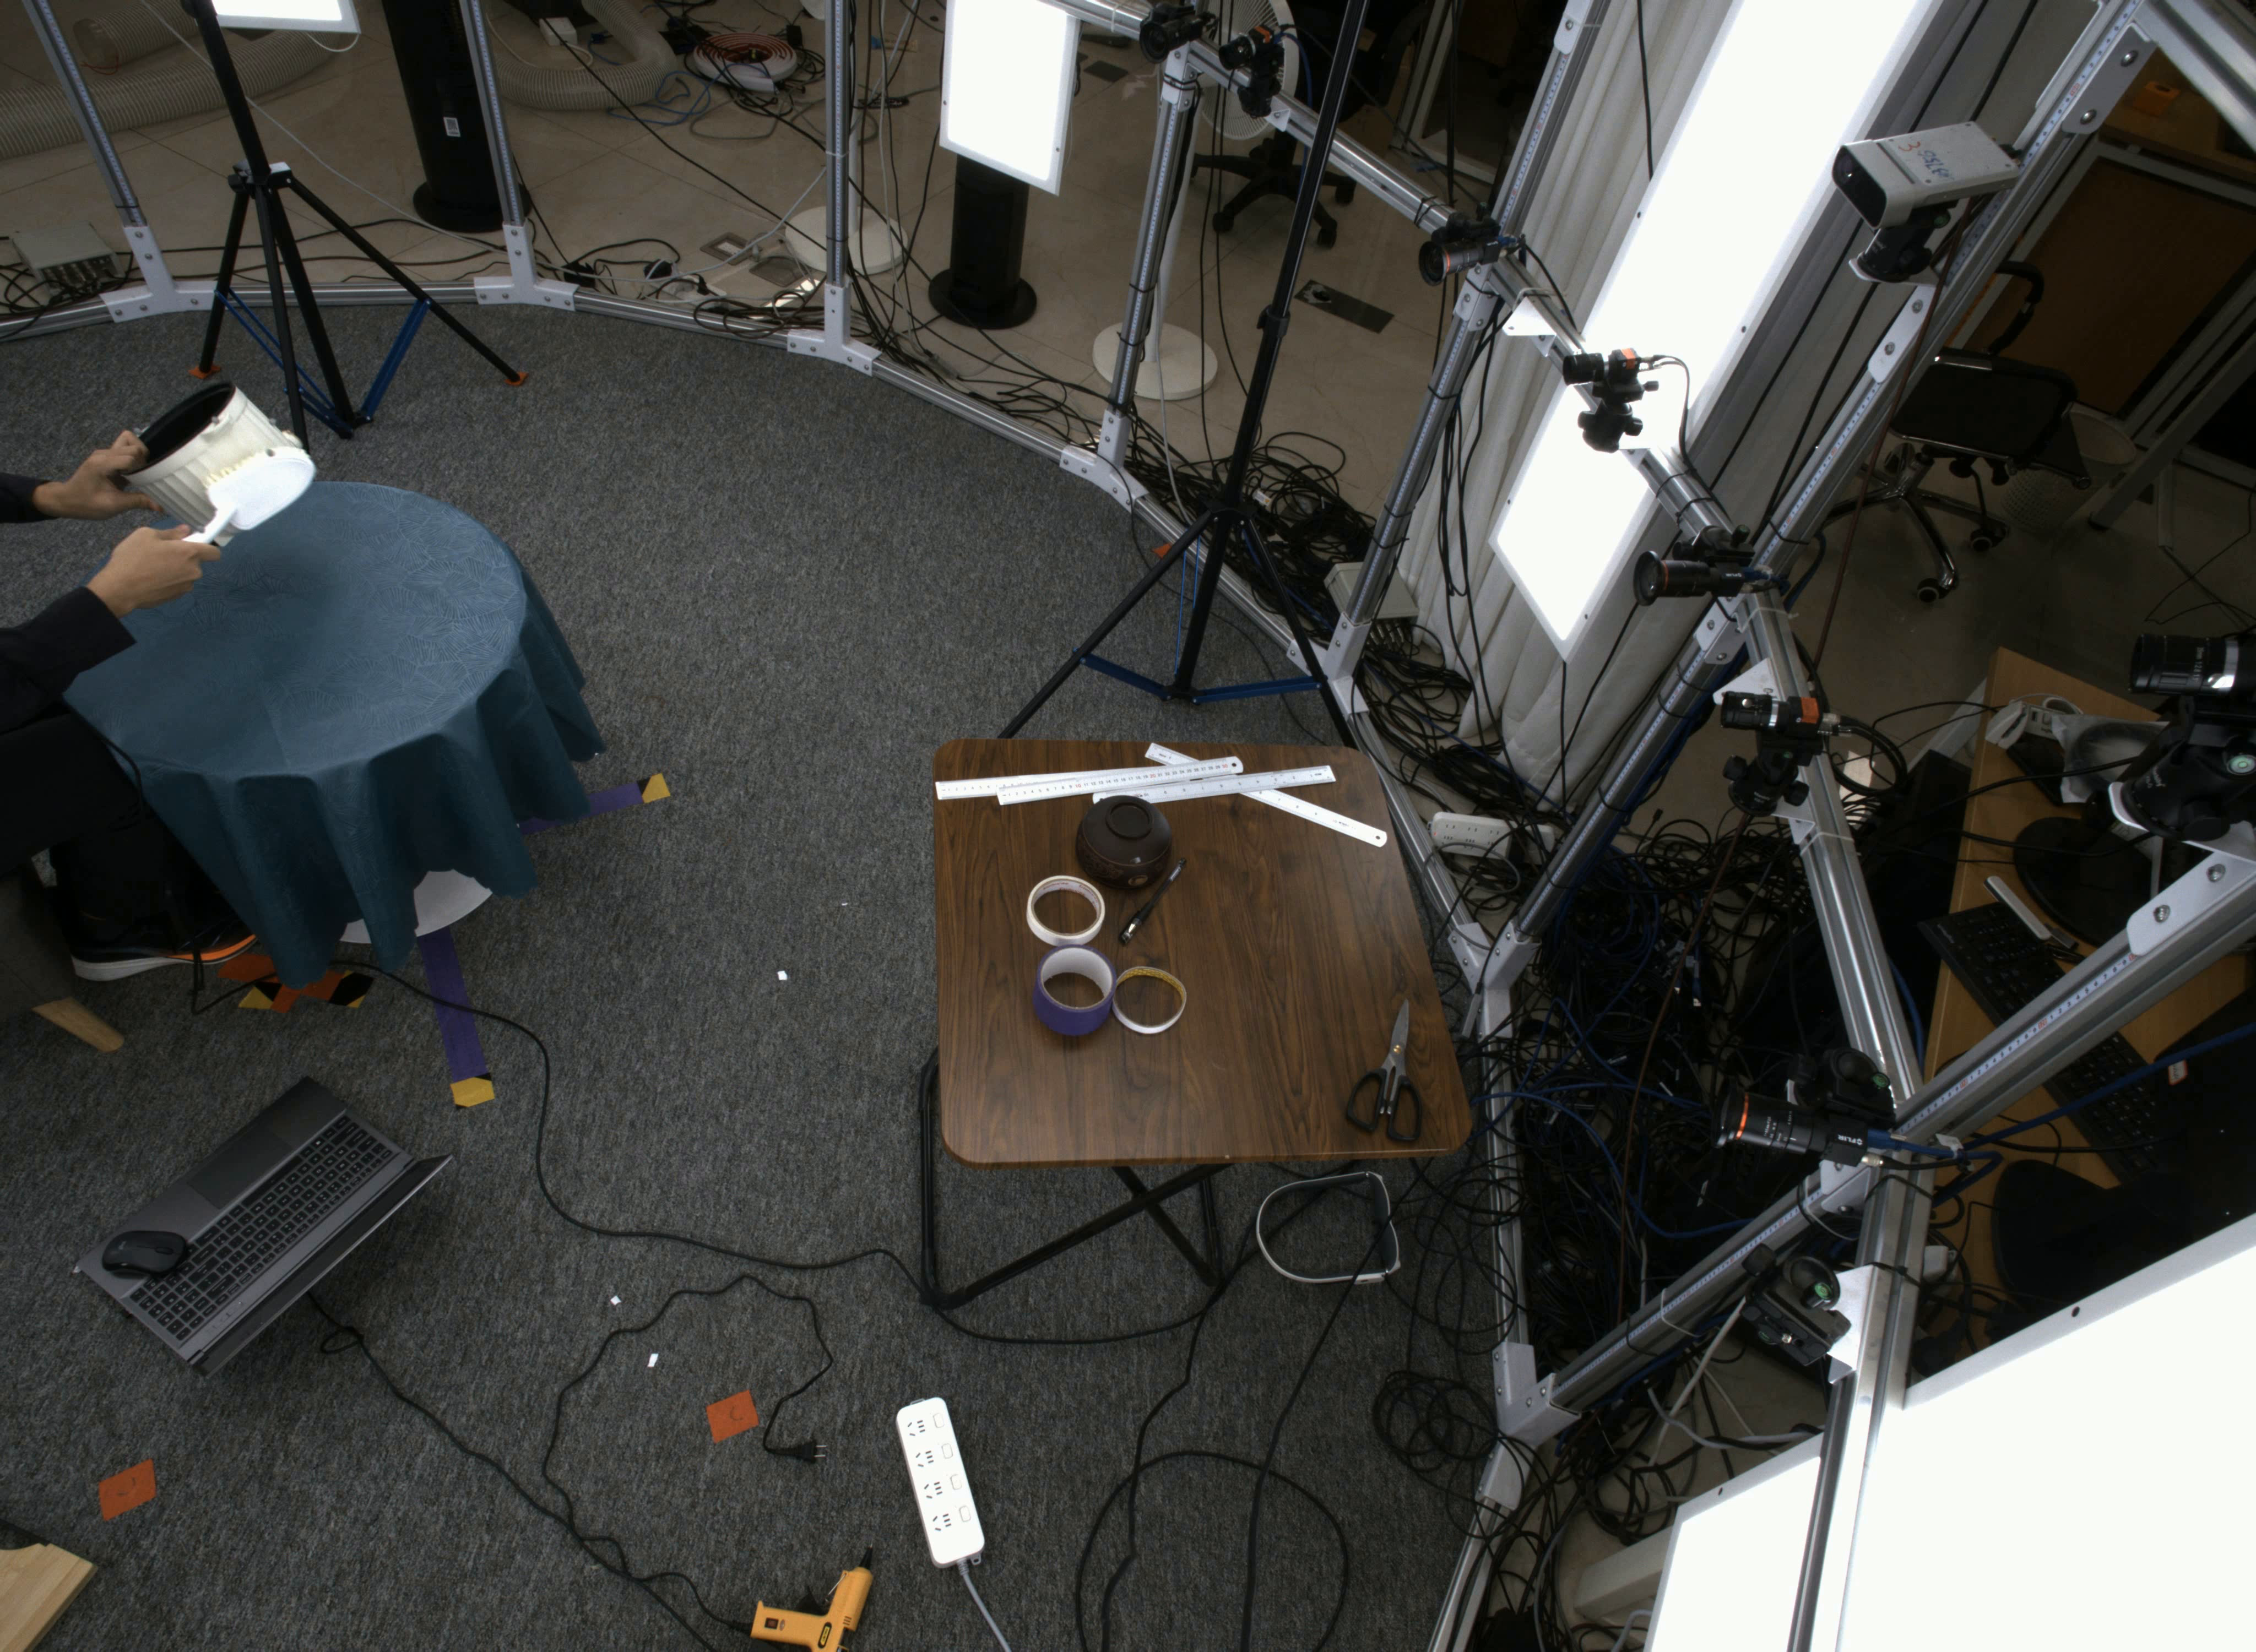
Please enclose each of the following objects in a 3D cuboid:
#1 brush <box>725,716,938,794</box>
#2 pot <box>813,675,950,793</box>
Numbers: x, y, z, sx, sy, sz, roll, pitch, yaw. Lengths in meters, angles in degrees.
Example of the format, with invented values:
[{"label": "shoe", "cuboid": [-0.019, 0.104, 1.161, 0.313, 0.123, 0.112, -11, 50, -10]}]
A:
[{"label": "brush", "cuboid": [-0.443, -0.107, 1.944, 0.325, 0.086, 0.081, -16, 62, -16]}, {"label": "pot", "cuboid": [-0.391, -0.147, 2.094, 0.191, 0.145, 0.235, -27, 8, -32]}]
